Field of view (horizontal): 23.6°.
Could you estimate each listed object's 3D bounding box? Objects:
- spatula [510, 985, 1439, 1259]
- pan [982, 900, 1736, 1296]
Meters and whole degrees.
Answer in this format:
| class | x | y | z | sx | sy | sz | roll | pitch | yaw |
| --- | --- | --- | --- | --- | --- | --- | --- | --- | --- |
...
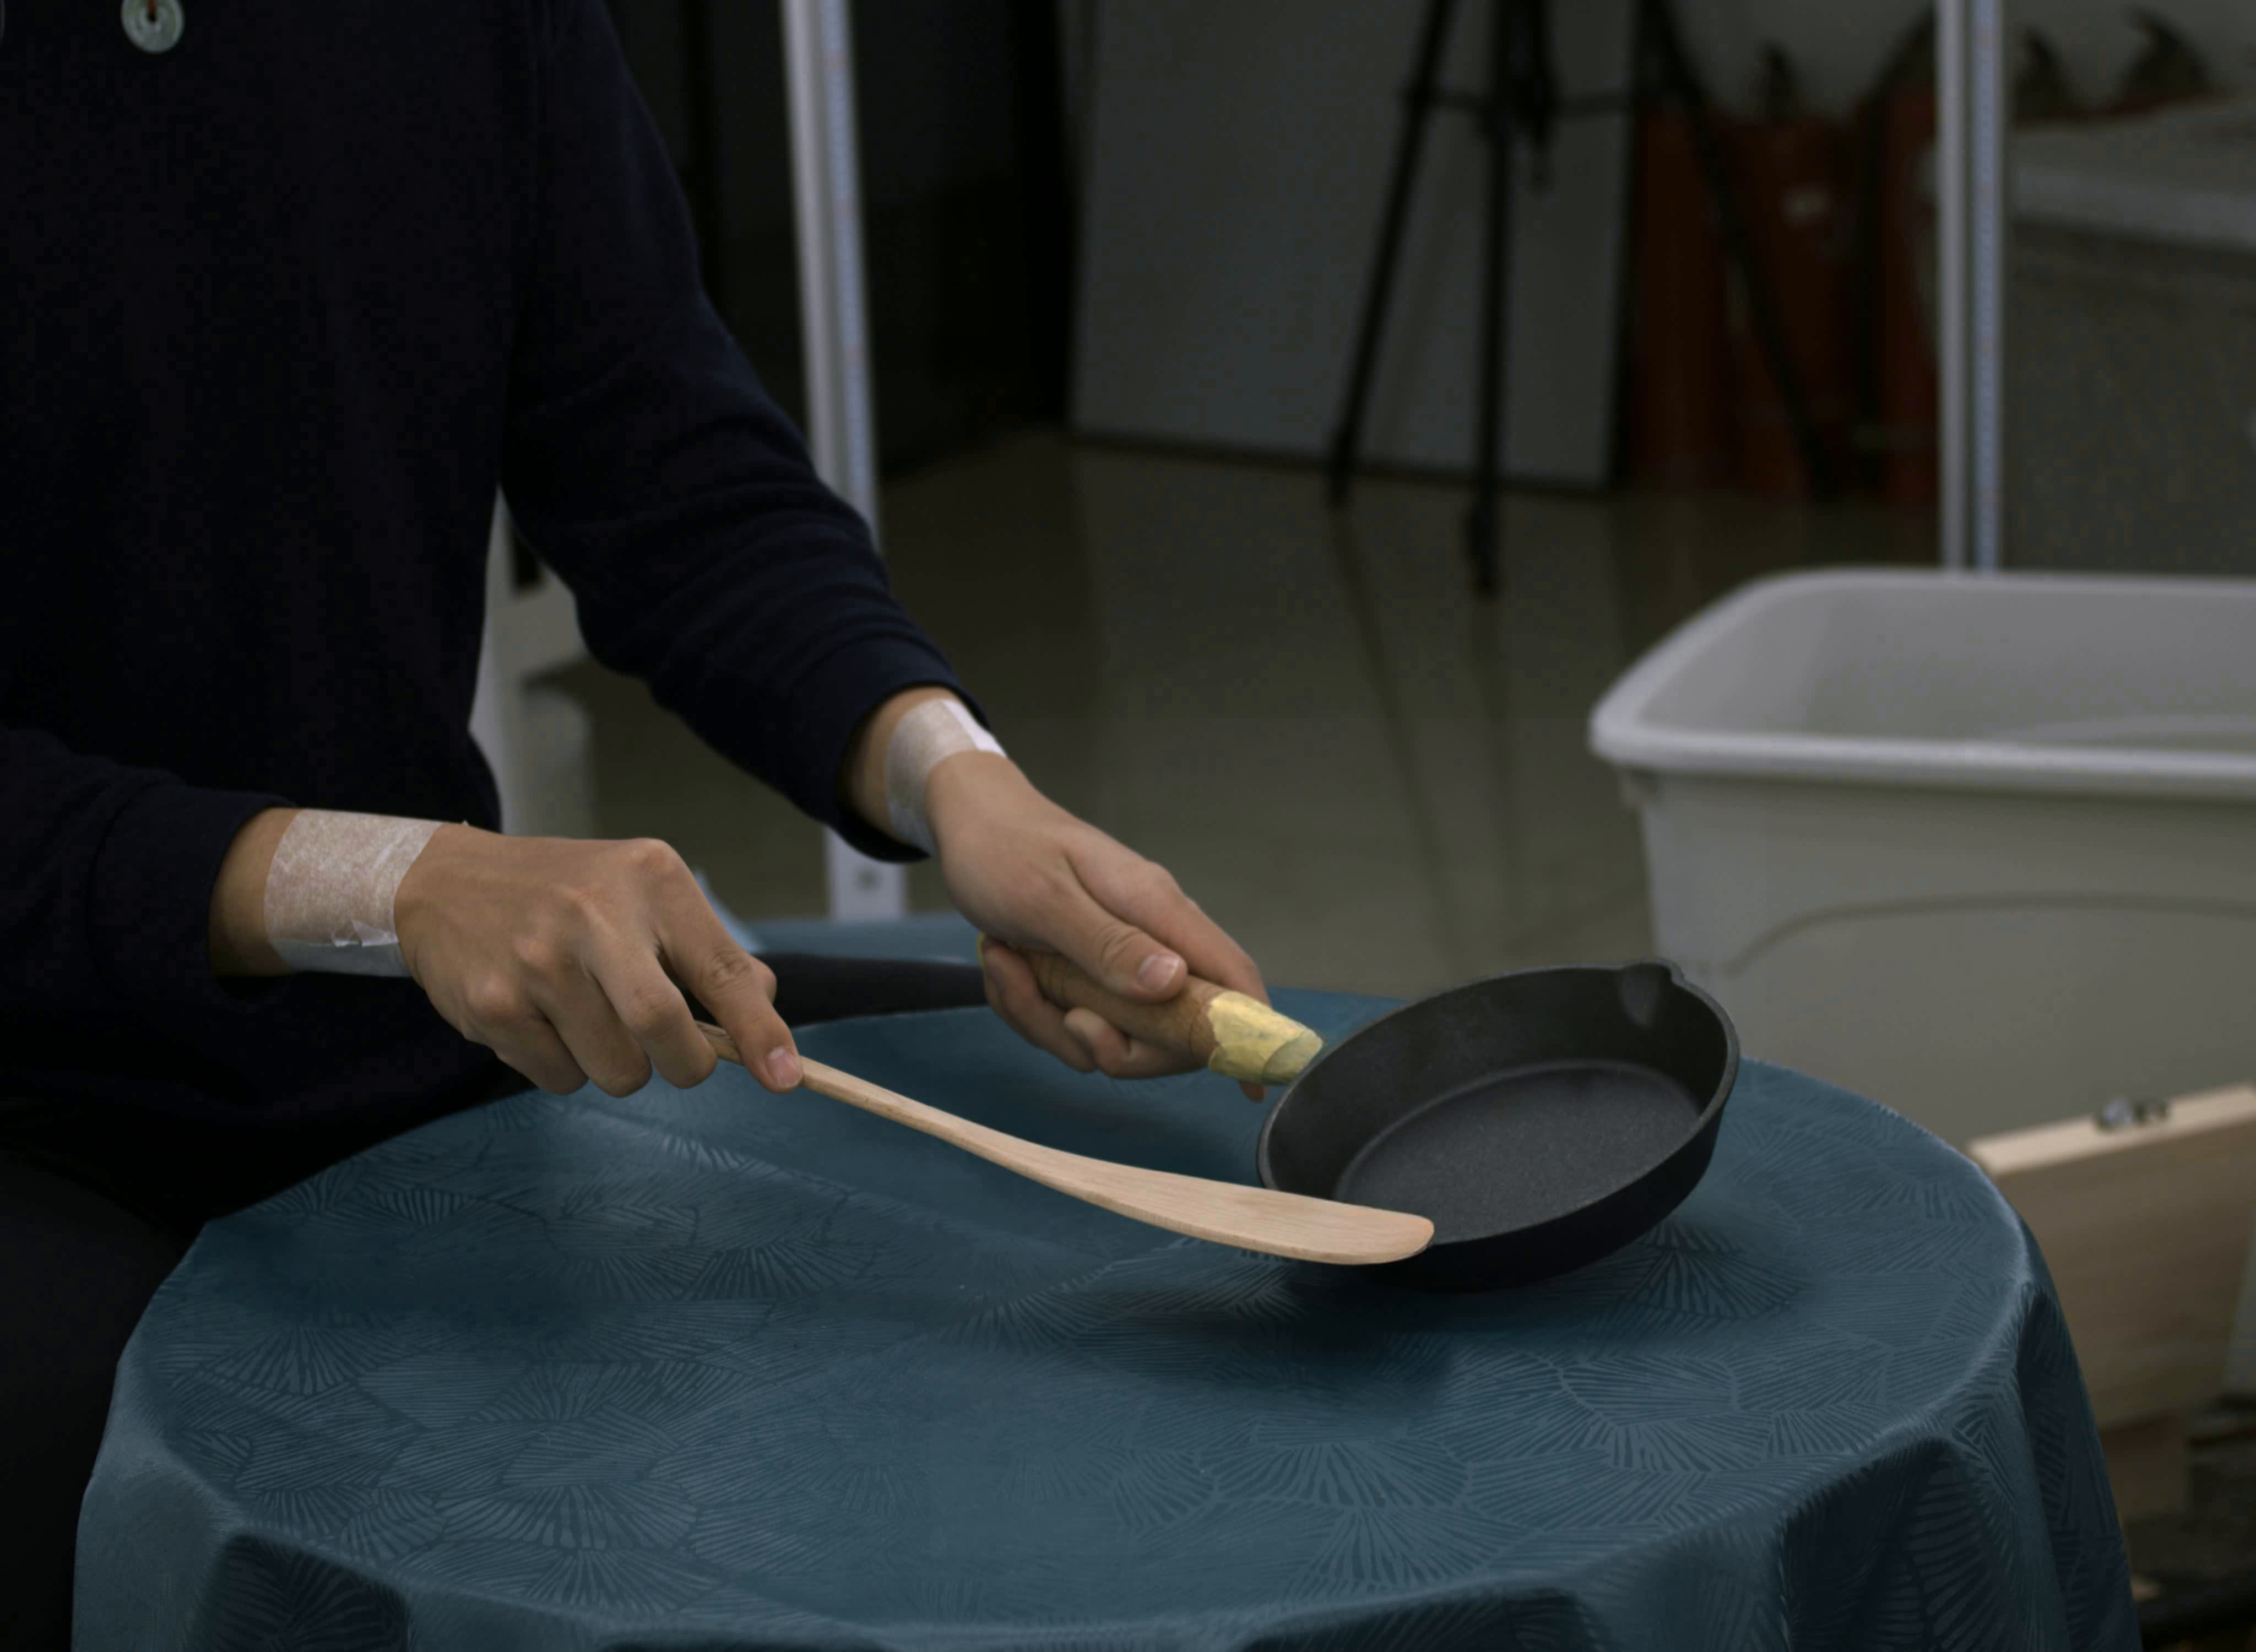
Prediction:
| class | x | y | z | sx | sy | sz | roll | pitch | yaw |
| --- | --- | --- | --- | --- | --- | --- | --- | --- | --- |
| spatula | -0.052 | 0.090 | 1.671 | 0.328 | 0.017 | 0.079 | 16 | 9 | 25 |
| pan | 0.063 | 0.077 | 1.748 | 0.166 | 0.050 | 0.327 | -35 | 31 | -29 |
